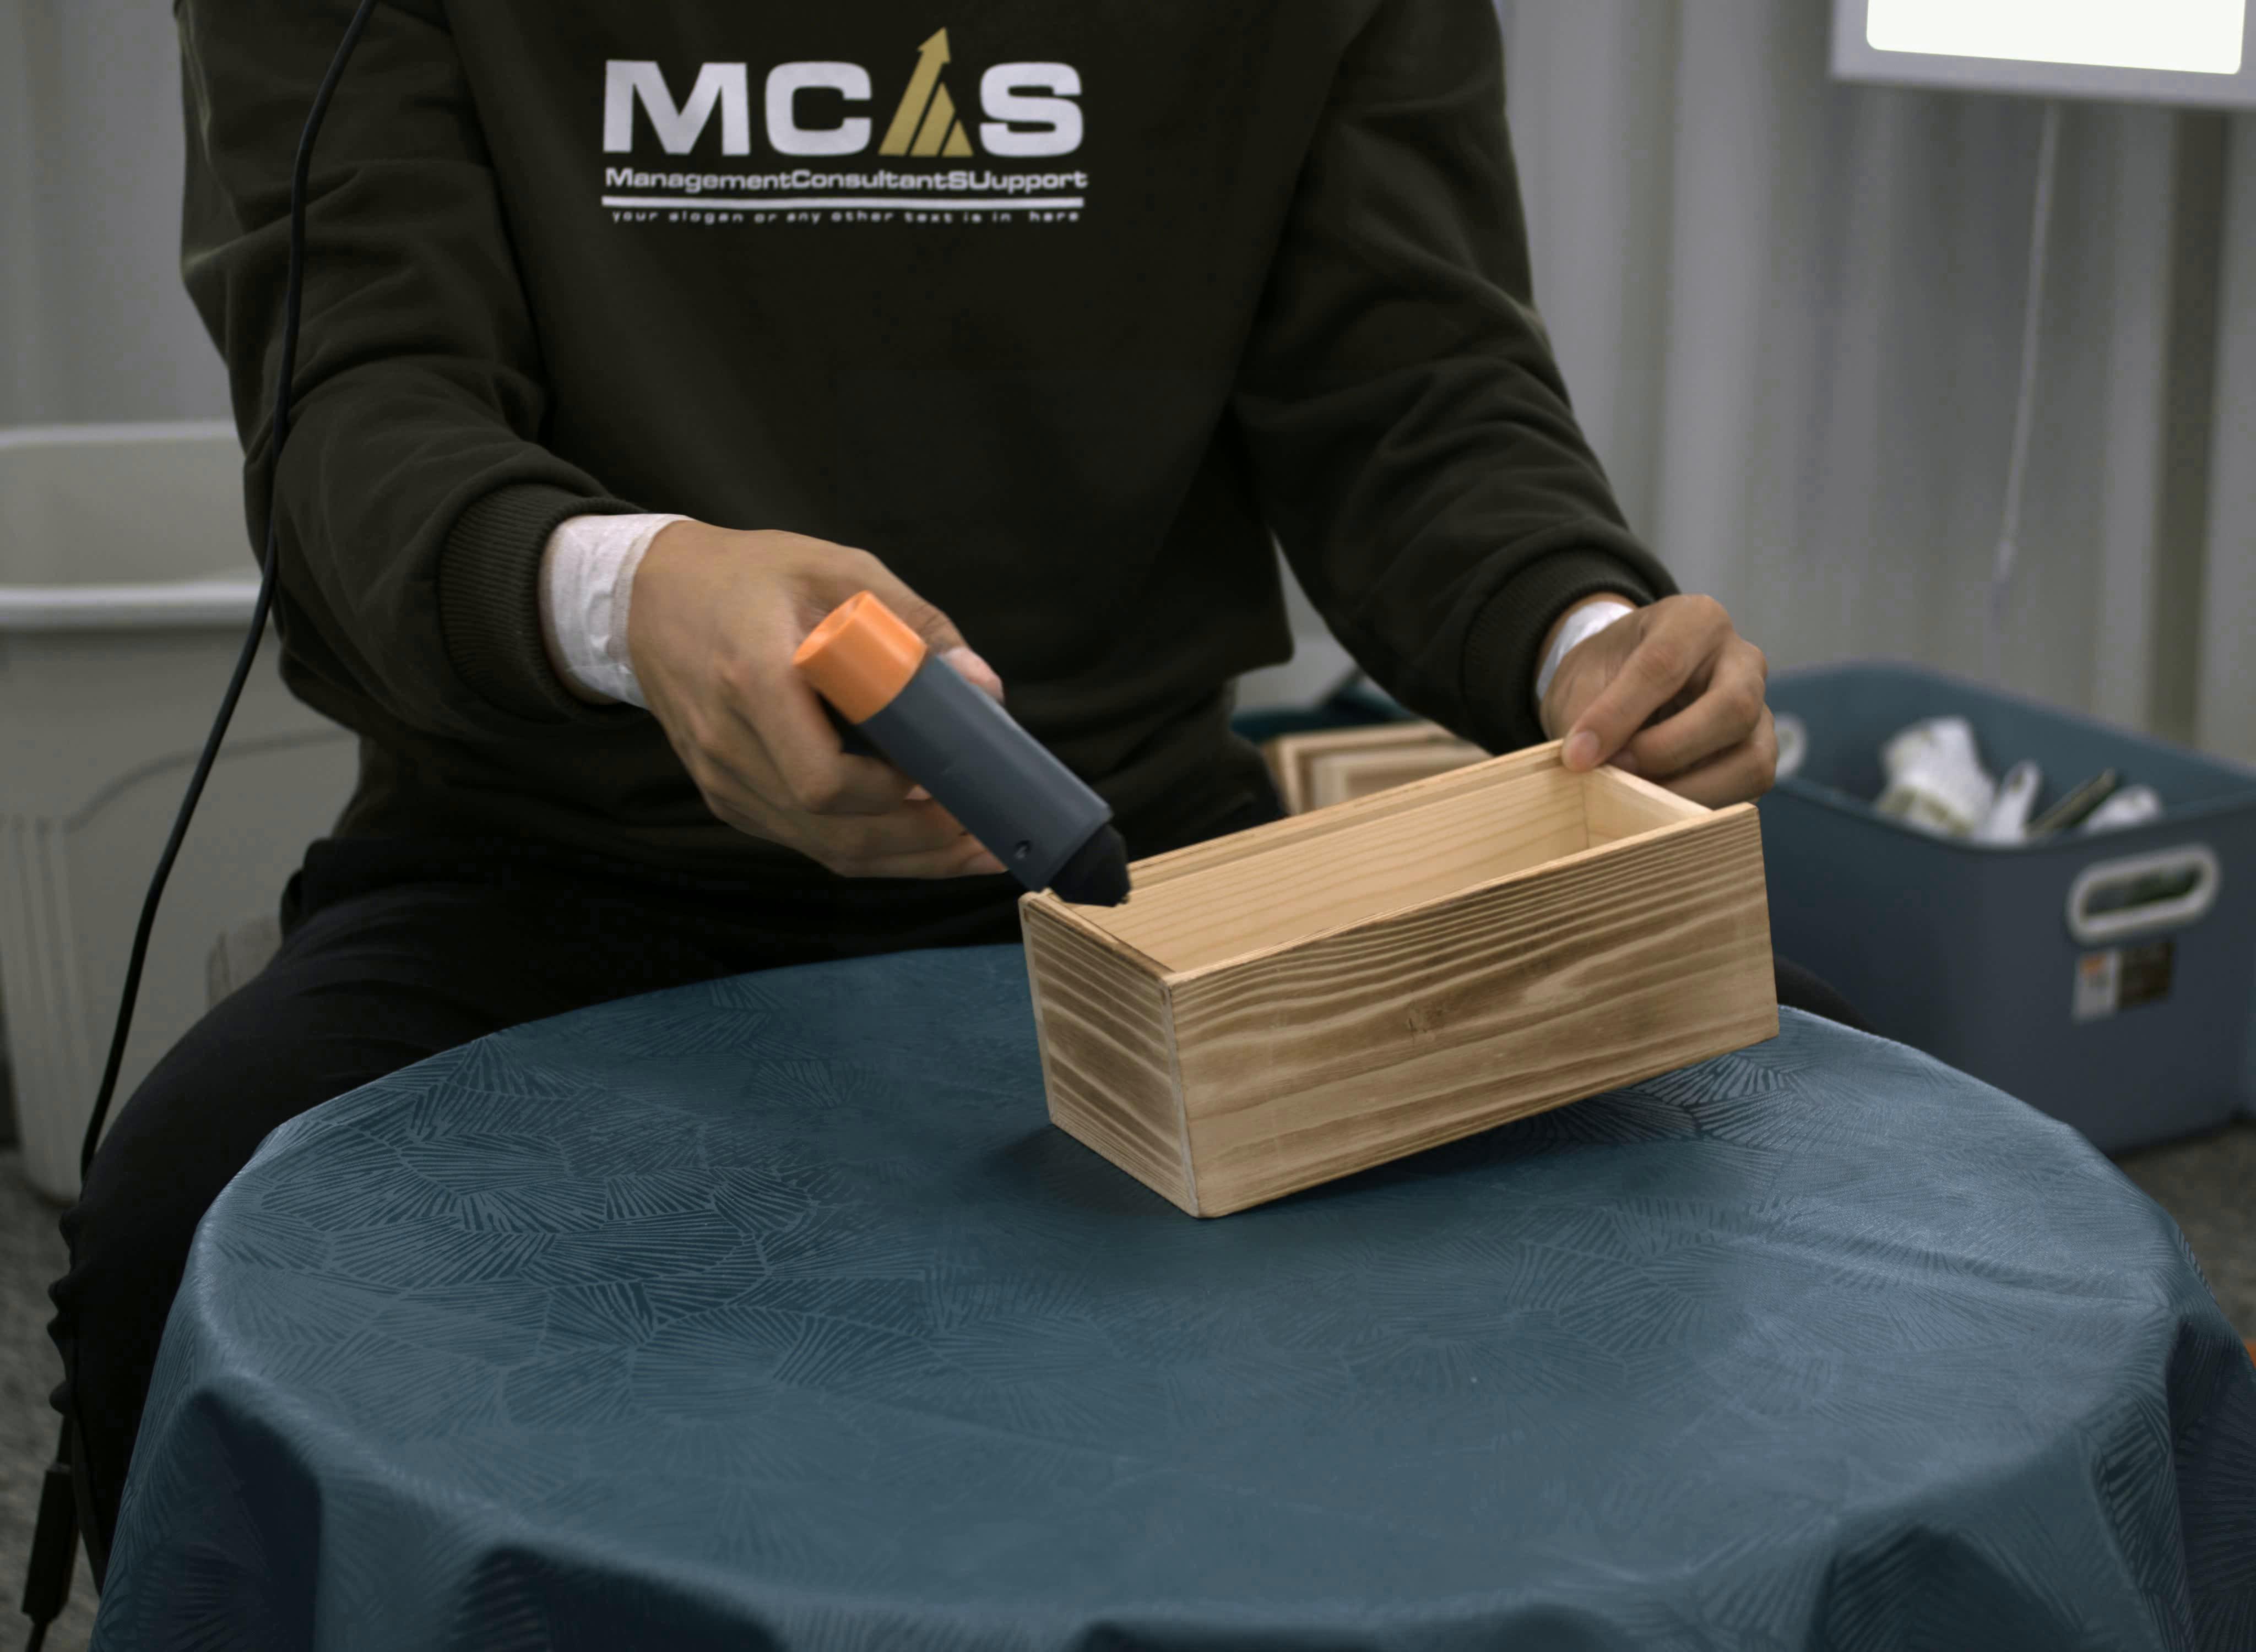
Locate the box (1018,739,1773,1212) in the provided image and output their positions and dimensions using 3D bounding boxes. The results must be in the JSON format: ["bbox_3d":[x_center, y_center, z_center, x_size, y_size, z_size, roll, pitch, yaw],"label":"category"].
[{"bbox_3d":[0.086,0.044,1.675,0.212,0.081,0.106,-16,21,-24],"label":"box"}]

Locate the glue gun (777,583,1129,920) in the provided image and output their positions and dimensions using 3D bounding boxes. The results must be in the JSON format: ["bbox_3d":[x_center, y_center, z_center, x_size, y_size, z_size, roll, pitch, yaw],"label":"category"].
[{"bbox_3d":[-0.056,-0.020,1.614,0.041,0.119,0.139,-42,14,-12],"label":"glue gun"}]
